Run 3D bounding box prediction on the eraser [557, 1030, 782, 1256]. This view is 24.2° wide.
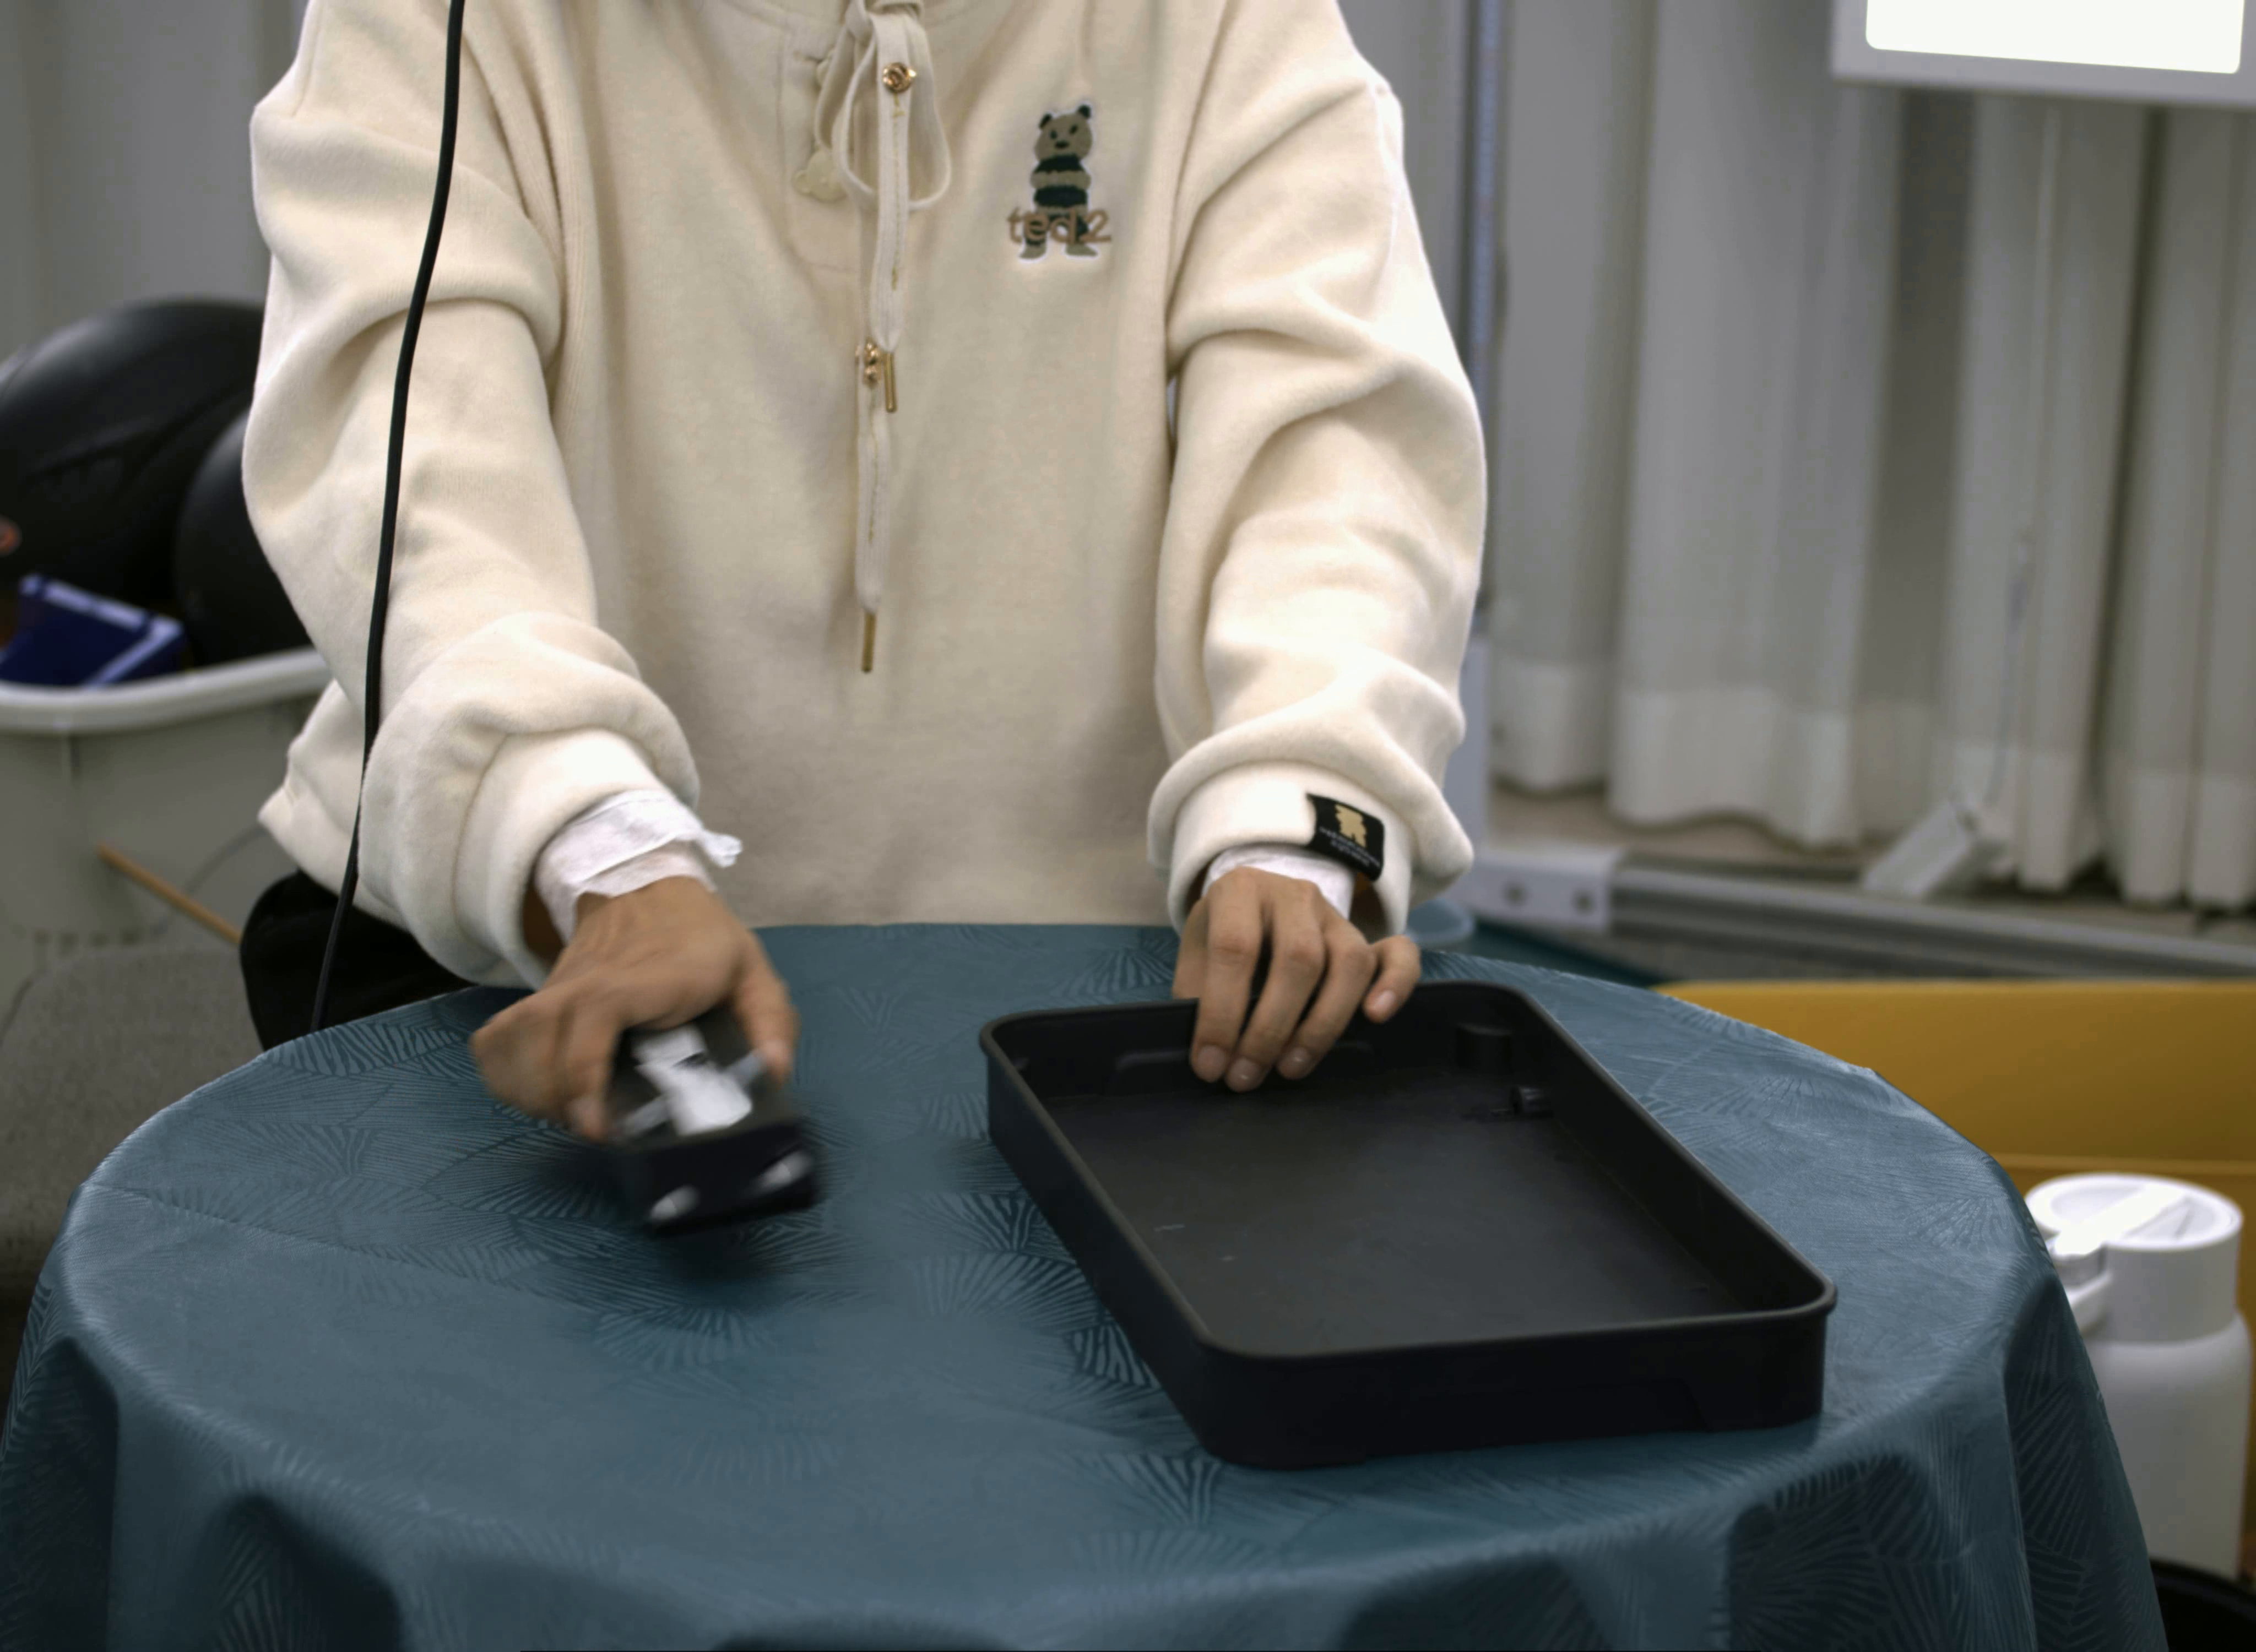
[{"bbox_3d":[-0.138,0.094,1.582,0.053,0.031,0.124,-6,16,-11],"label":"eraser"}]

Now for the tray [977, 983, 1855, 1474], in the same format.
[{"bbox_3d":[0.075,0.112,1.554,0.184,0.037,0.315,-3,15,-15],"label":"tray"}]
